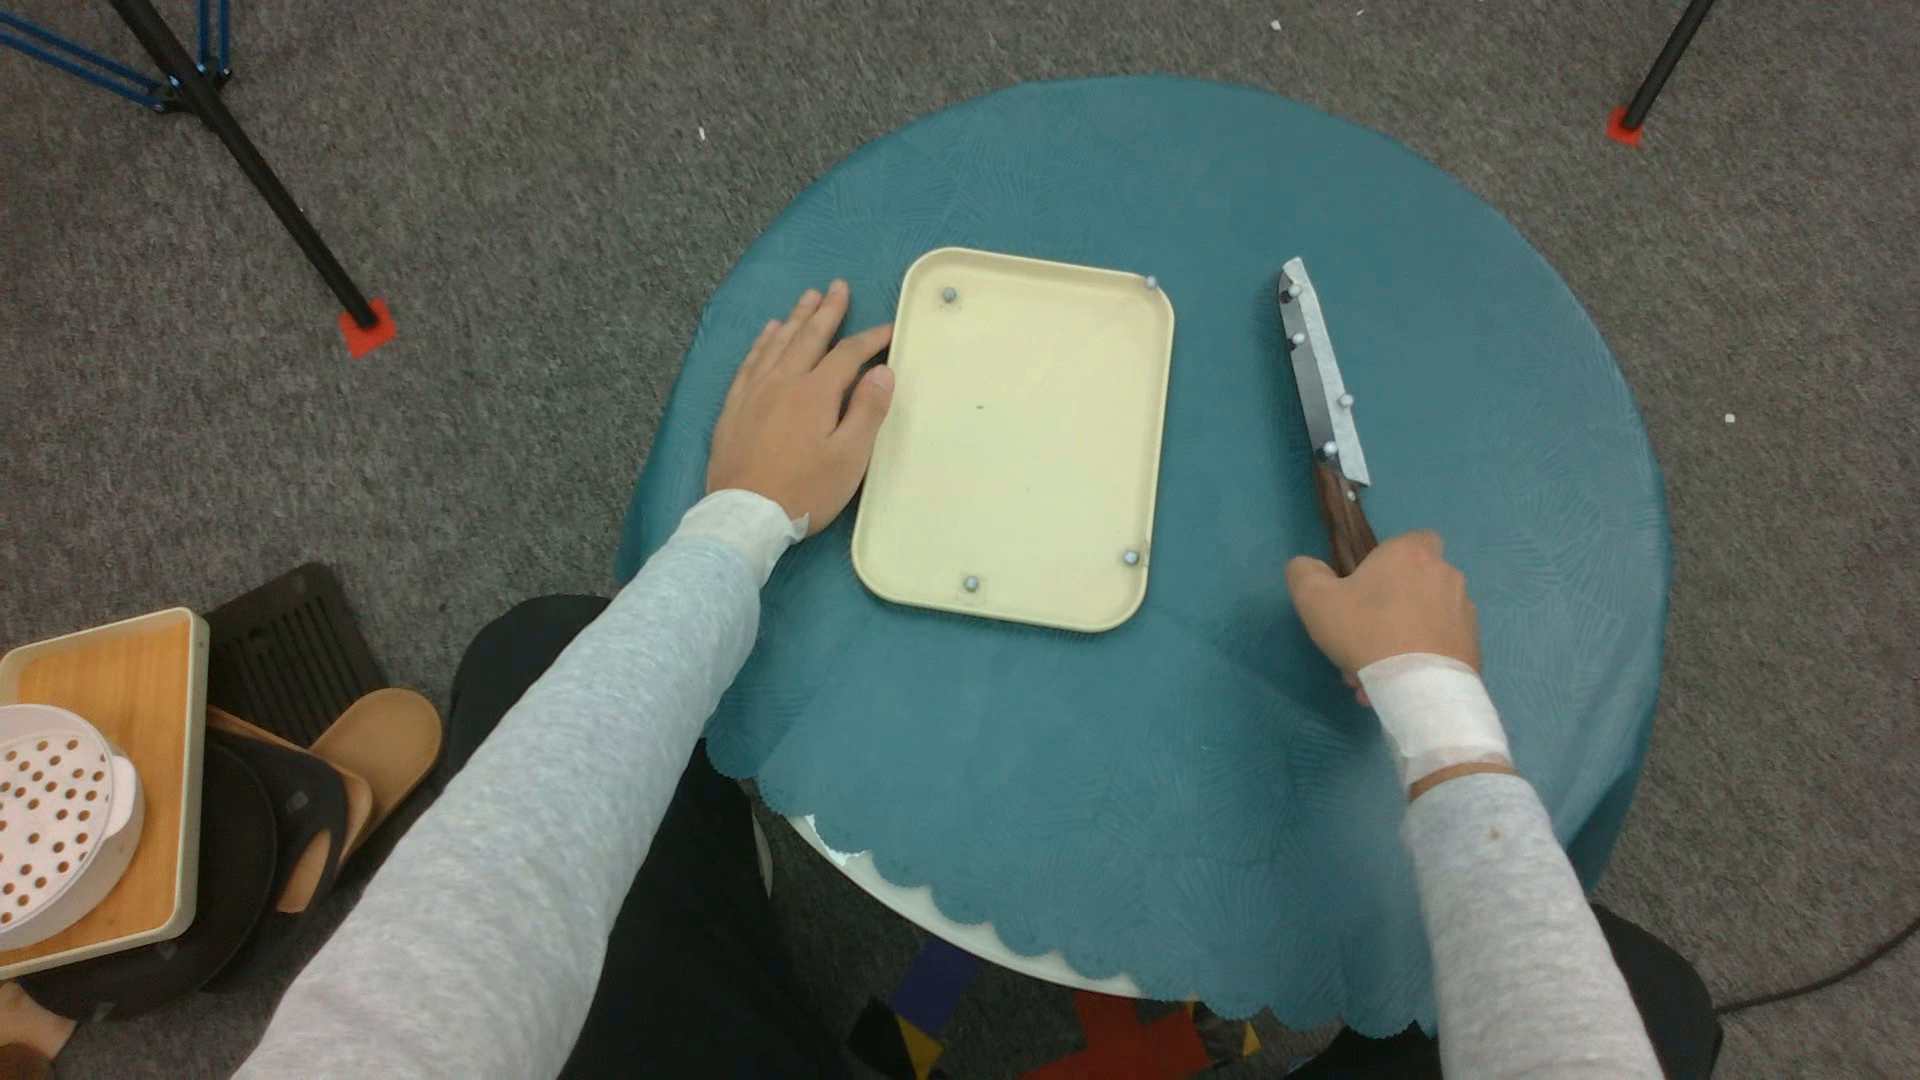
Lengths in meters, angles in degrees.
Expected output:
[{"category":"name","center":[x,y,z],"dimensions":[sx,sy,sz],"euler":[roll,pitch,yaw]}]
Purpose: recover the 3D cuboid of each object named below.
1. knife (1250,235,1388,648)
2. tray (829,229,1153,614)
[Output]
[{"category":"knife","center":[0.208,-0.069,0.814],"dimensions":[0.050,0.020,0.290],"euler":[14,56,-32]},{"category":"tray","center":[0.022,-0.074,0.817],"dimensions":[0.171,0.017,0.240],"euler":[9,68,1]}]
